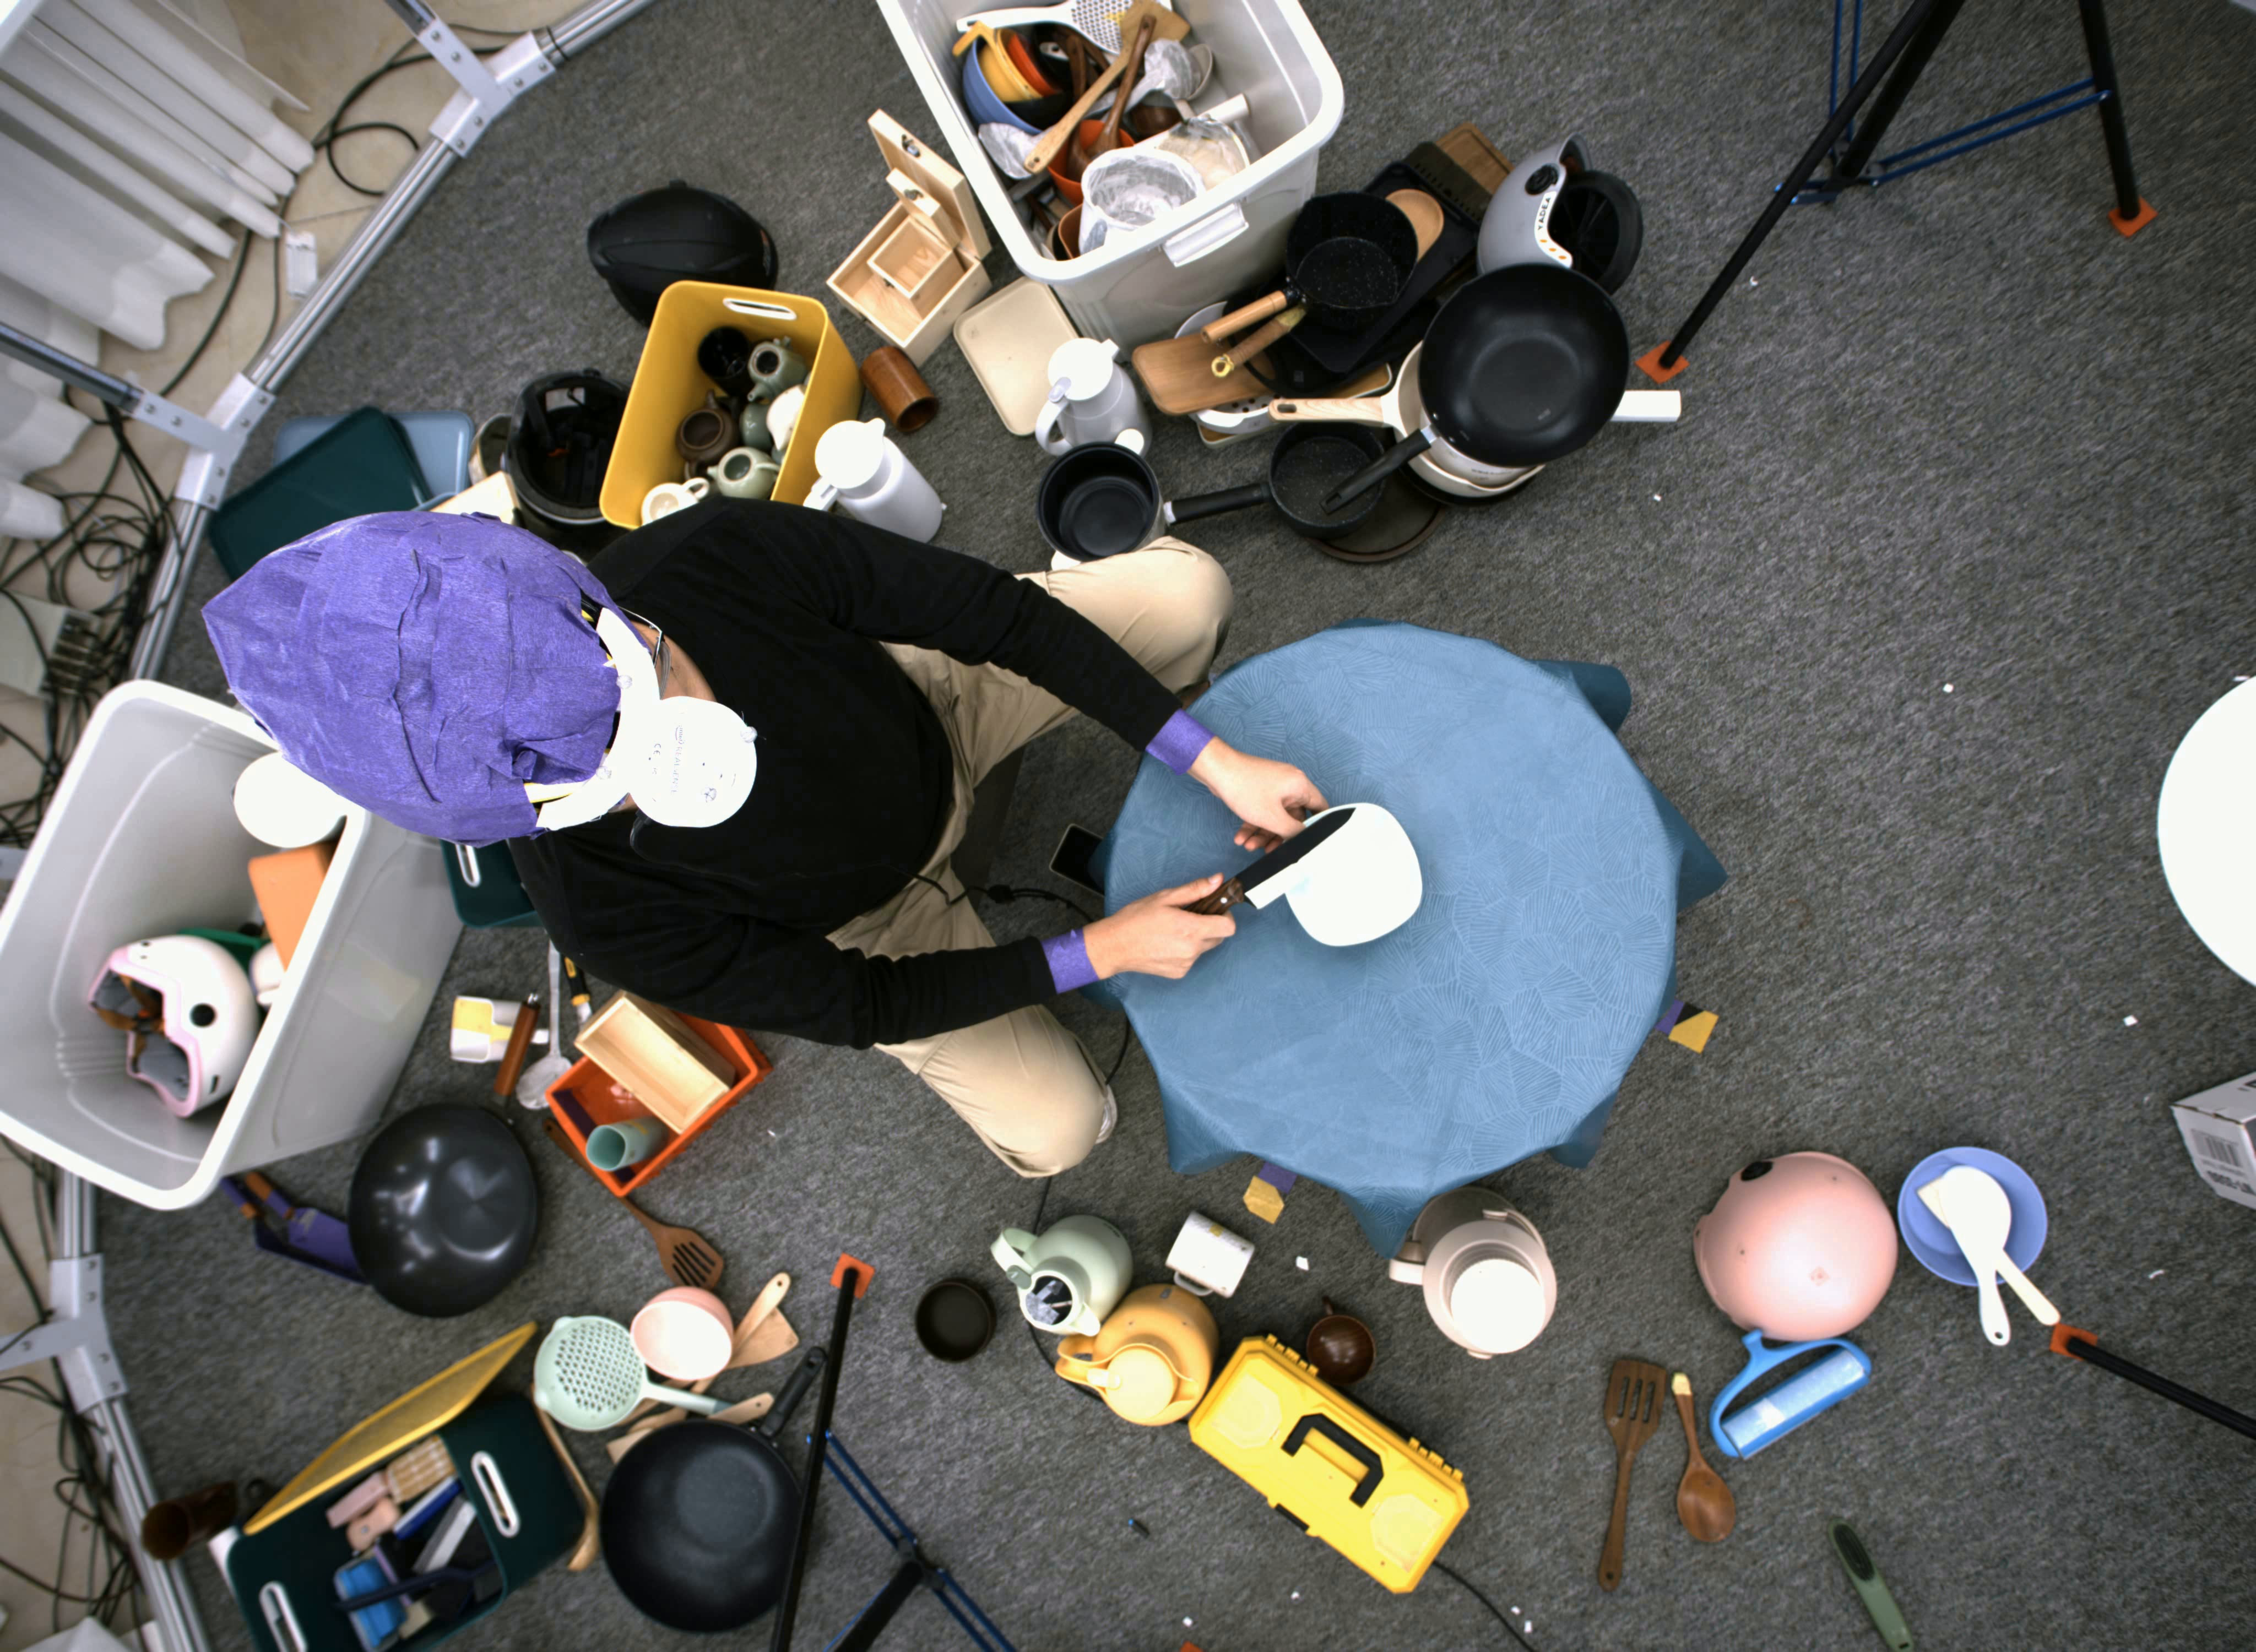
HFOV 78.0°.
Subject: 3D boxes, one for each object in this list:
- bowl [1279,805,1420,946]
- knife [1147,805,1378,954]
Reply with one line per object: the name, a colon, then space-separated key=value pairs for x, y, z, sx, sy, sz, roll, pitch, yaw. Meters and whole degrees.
bowl: x=0.224 y=0.052 z=1.431 sx=0.151 sy=0.059 sz=0.150 roll=0 pitch=86 yaw=-1
knife: x=0.132 y=0.055 z=1.404 sx=0.294 sy=0.019 sz=0.050 roll=-34 pitch=107 yaw=28
